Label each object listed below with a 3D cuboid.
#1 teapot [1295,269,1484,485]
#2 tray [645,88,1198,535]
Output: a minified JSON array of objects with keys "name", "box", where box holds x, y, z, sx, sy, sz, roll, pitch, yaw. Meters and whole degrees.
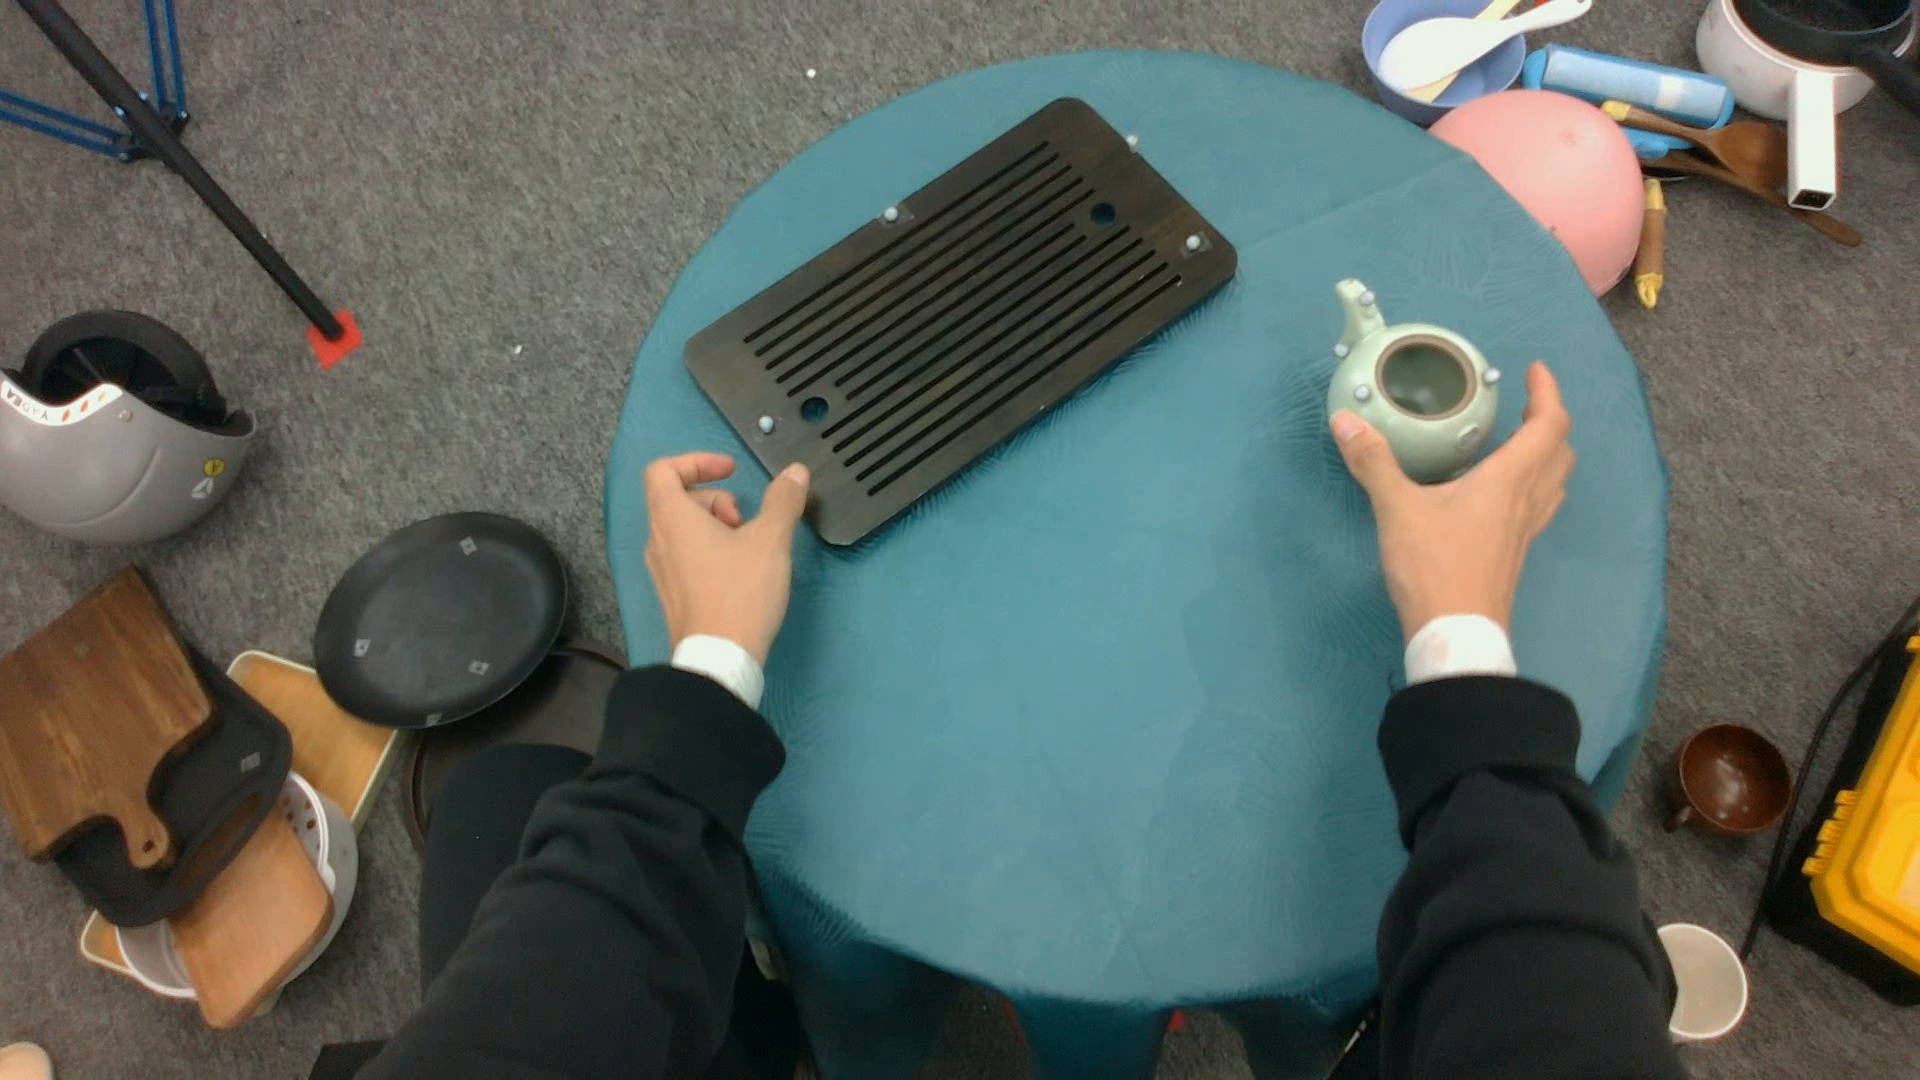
[{"name":"teapot","box":[0.230,-0.082,0.762,0.088,0.074,0.144,-30,67,-11]},{"name":"tray","box":[-0.021,-0.144,0.827,0.306,0.018,0.170,-36,70,-13]}]
